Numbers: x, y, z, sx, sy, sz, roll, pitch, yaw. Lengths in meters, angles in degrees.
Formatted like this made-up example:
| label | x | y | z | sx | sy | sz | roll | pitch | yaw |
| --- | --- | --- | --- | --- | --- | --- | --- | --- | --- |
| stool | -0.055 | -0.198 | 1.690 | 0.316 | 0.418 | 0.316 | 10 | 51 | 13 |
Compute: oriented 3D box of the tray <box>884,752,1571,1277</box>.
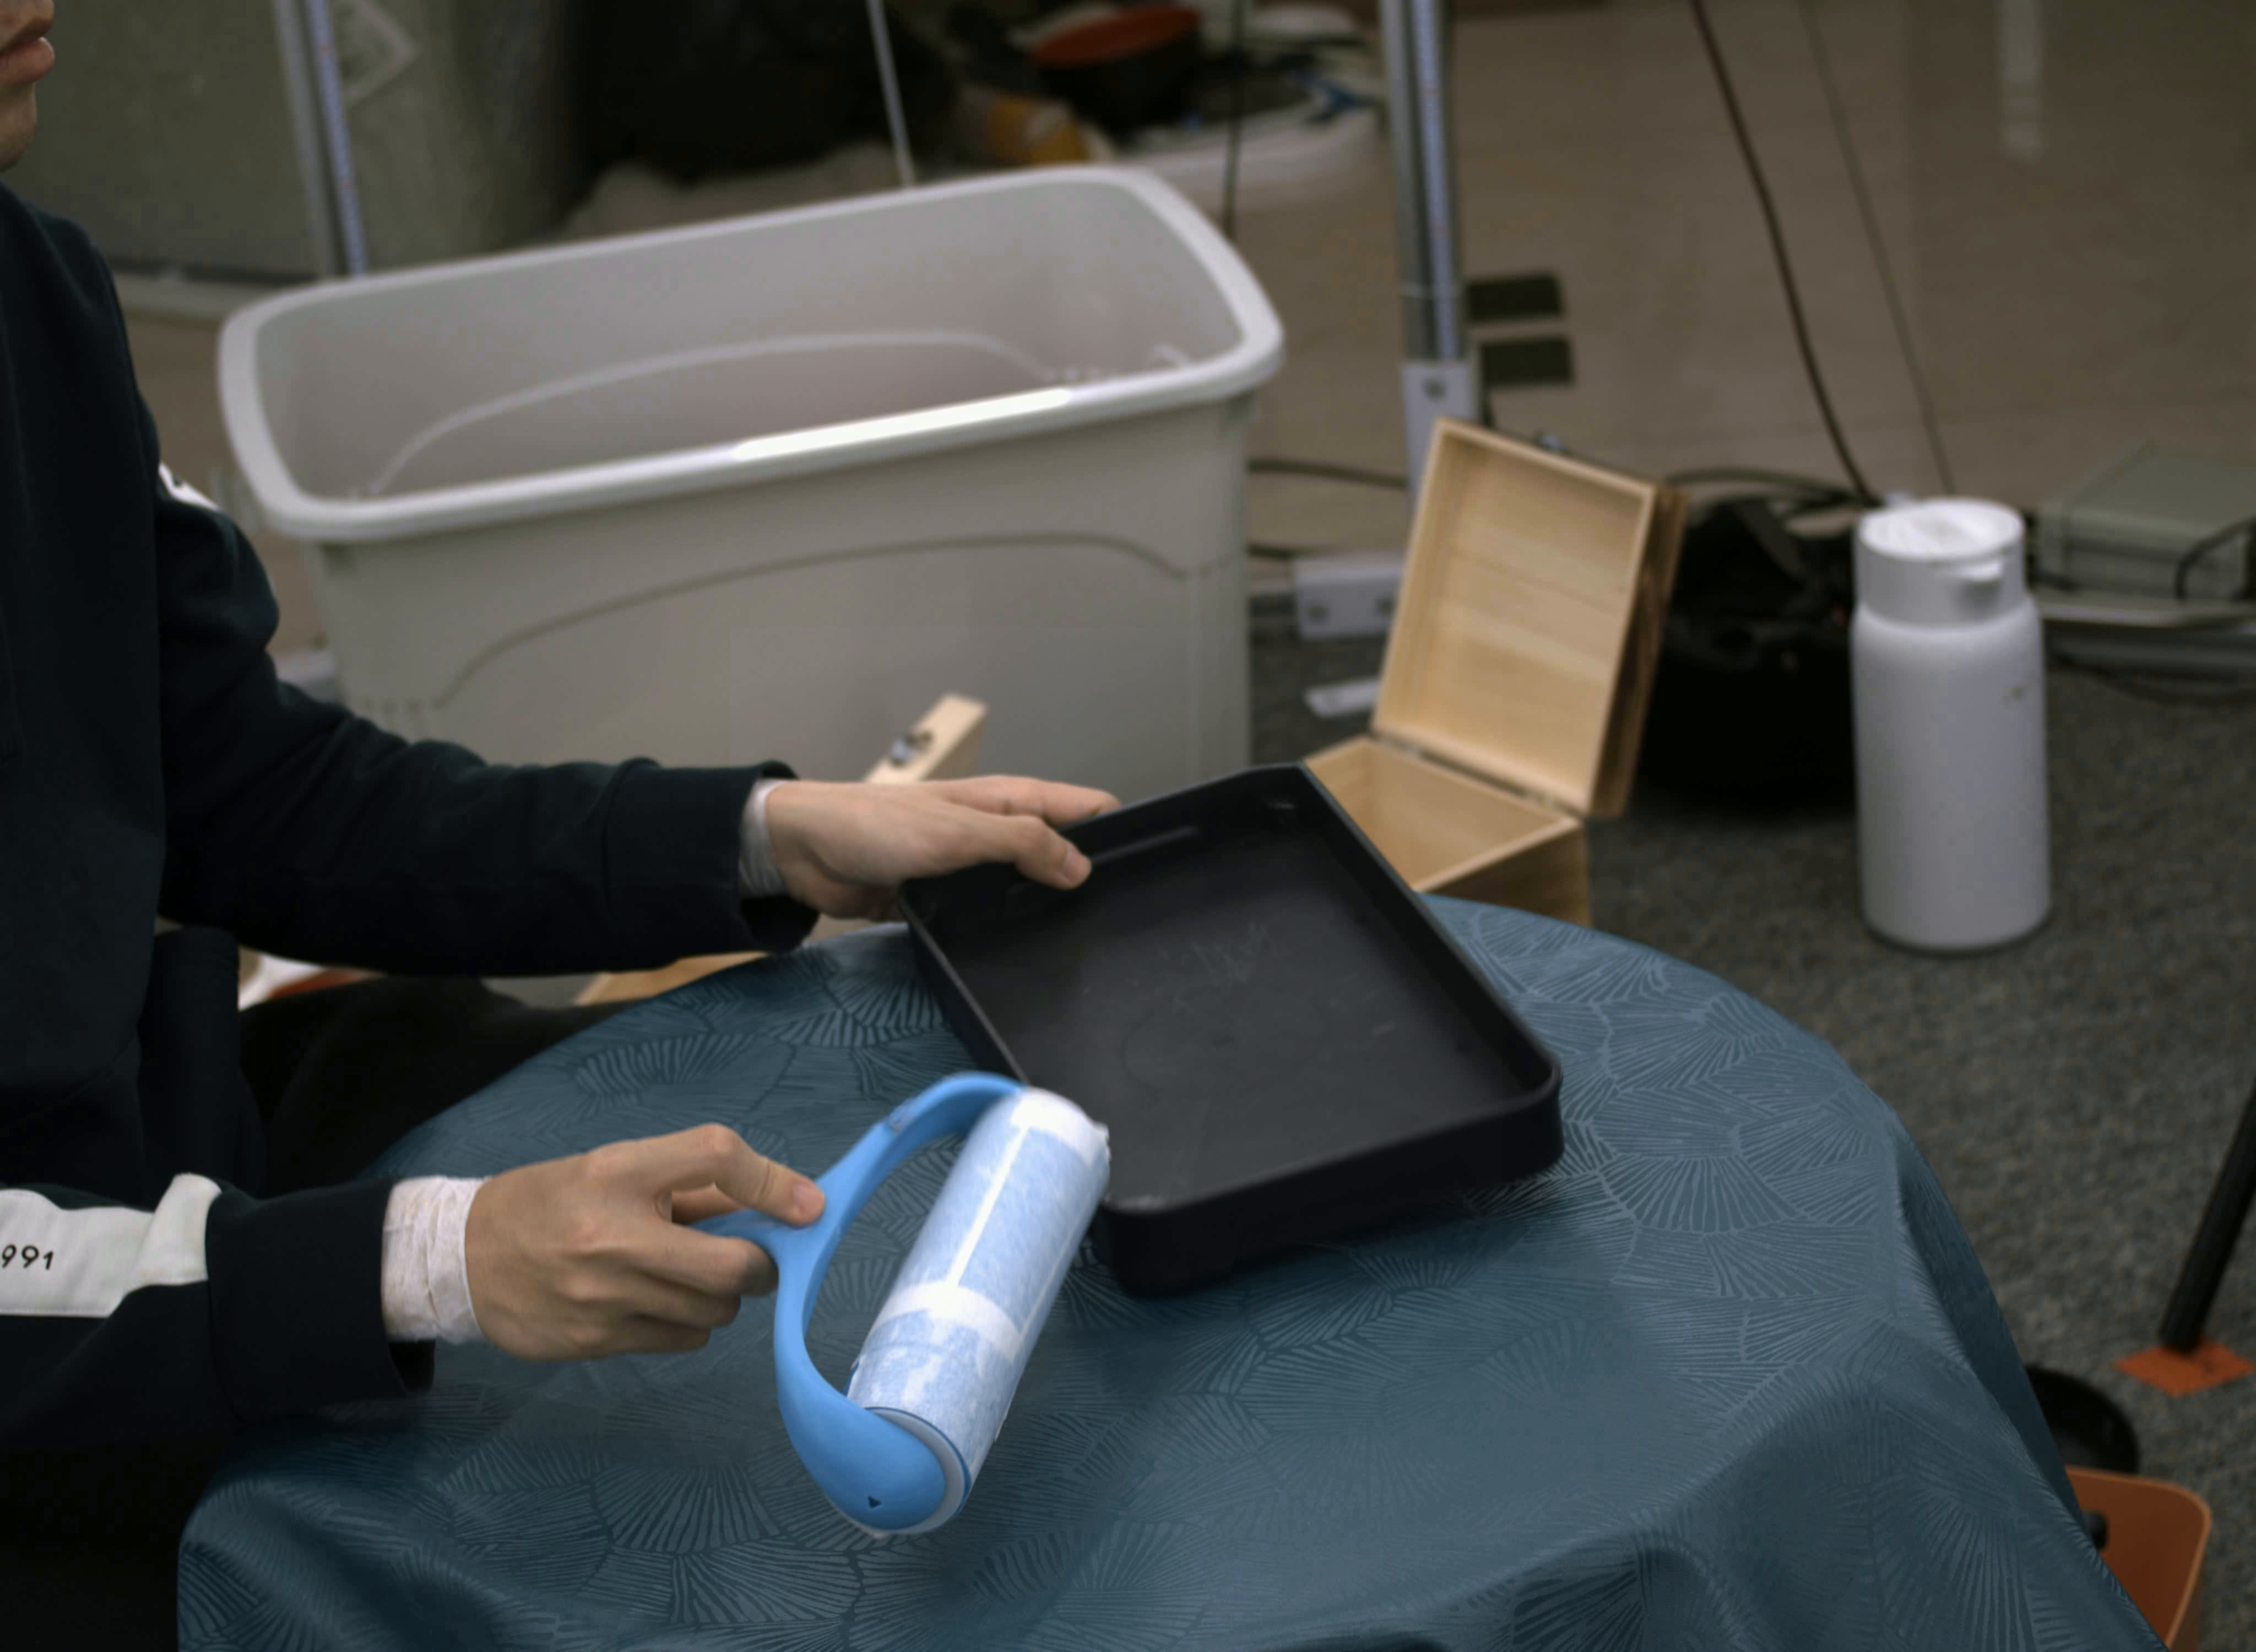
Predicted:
| label | x | y | z | sx | sy | sz | roll | pitch | yaw |
| --- | --- | --- | --- | --- | --- | --- | --- | --- | --- |
| tray | 0.034 | 0.068 | 2.201 | 0.183 | 0.037 | 0.313 | -18 | 28 | -12 |

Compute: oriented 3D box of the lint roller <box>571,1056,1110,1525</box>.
| label | x | y | z | sx | sy | sz | roll | pitch | yaw |
| --- | --- | --- | --- | --- | --- | --- | --- | --- | --- |
| lint roller | -0.112 | 0.158 | 1.977 | 0.180 | 0.069 | 0.225 | 2 | 34 | 12 |
